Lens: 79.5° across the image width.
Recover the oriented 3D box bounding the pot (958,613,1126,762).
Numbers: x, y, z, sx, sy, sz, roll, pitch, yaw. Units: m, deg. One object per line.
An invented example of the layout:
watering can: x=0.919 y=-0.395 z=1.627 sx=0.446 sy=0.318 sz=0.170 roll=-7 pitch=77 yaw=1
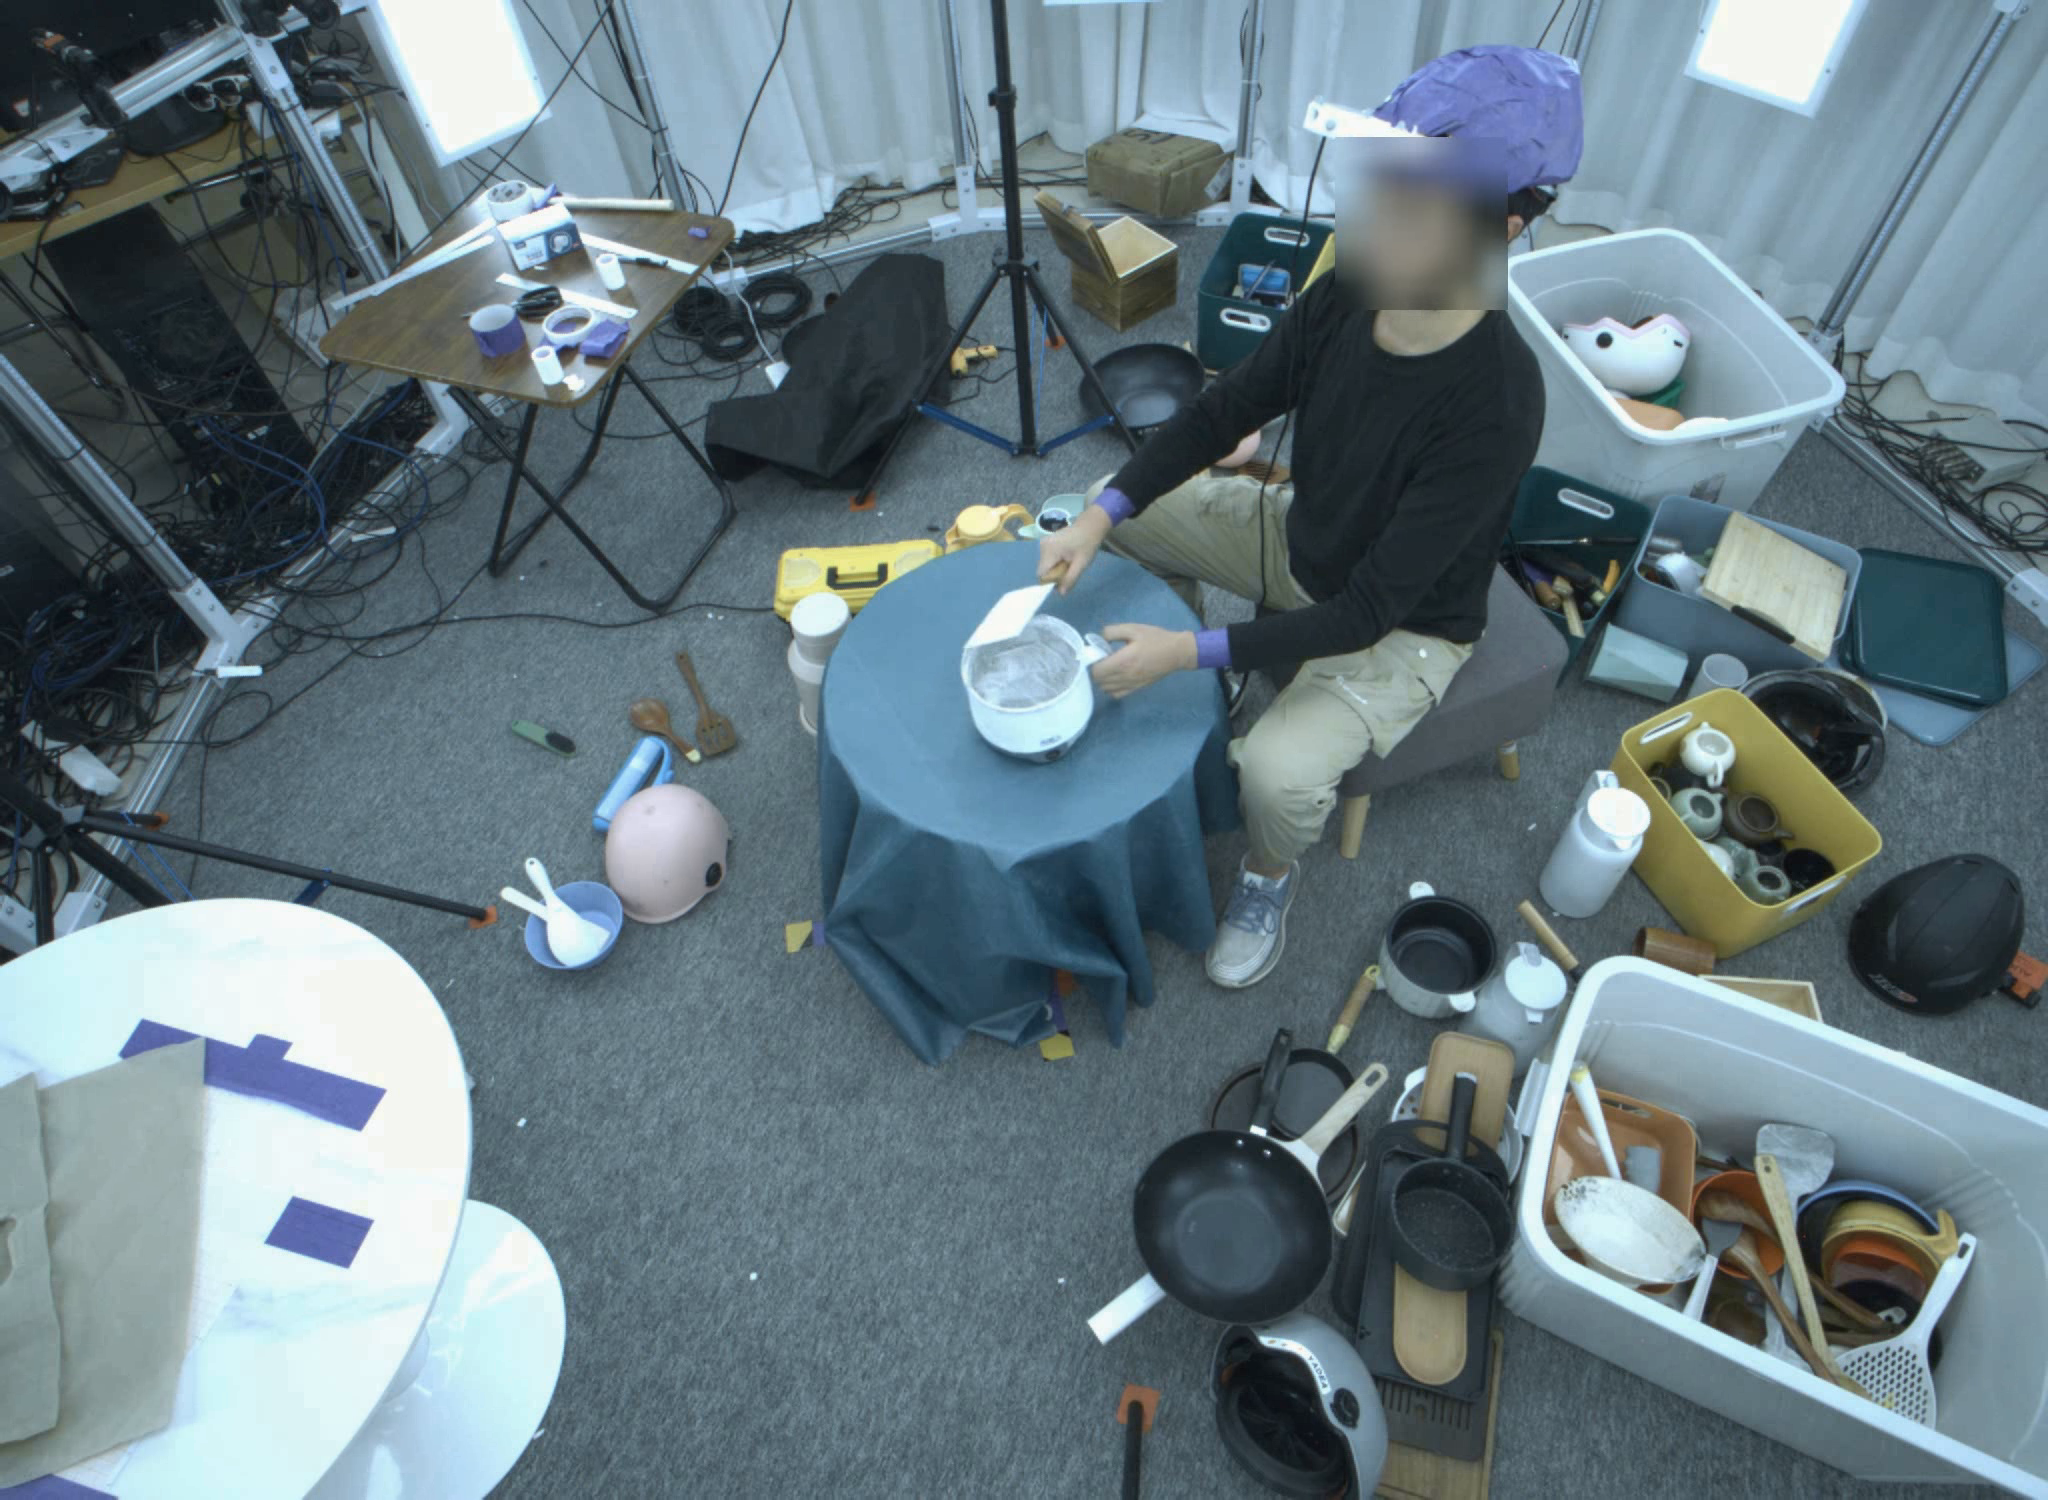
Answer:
pot: x=0.031 y=-0.098 z=1.759 sx=0.234 sy=0.138 sz=0.175 roll=-21 pitch=57 yaw=-6

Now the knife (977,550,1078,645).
knife: x=0.004 y=-0.224 z=1.793 sx=0.091 sy=0.021 sz=0.306 roll=-9 pitch=26 yaw=24
